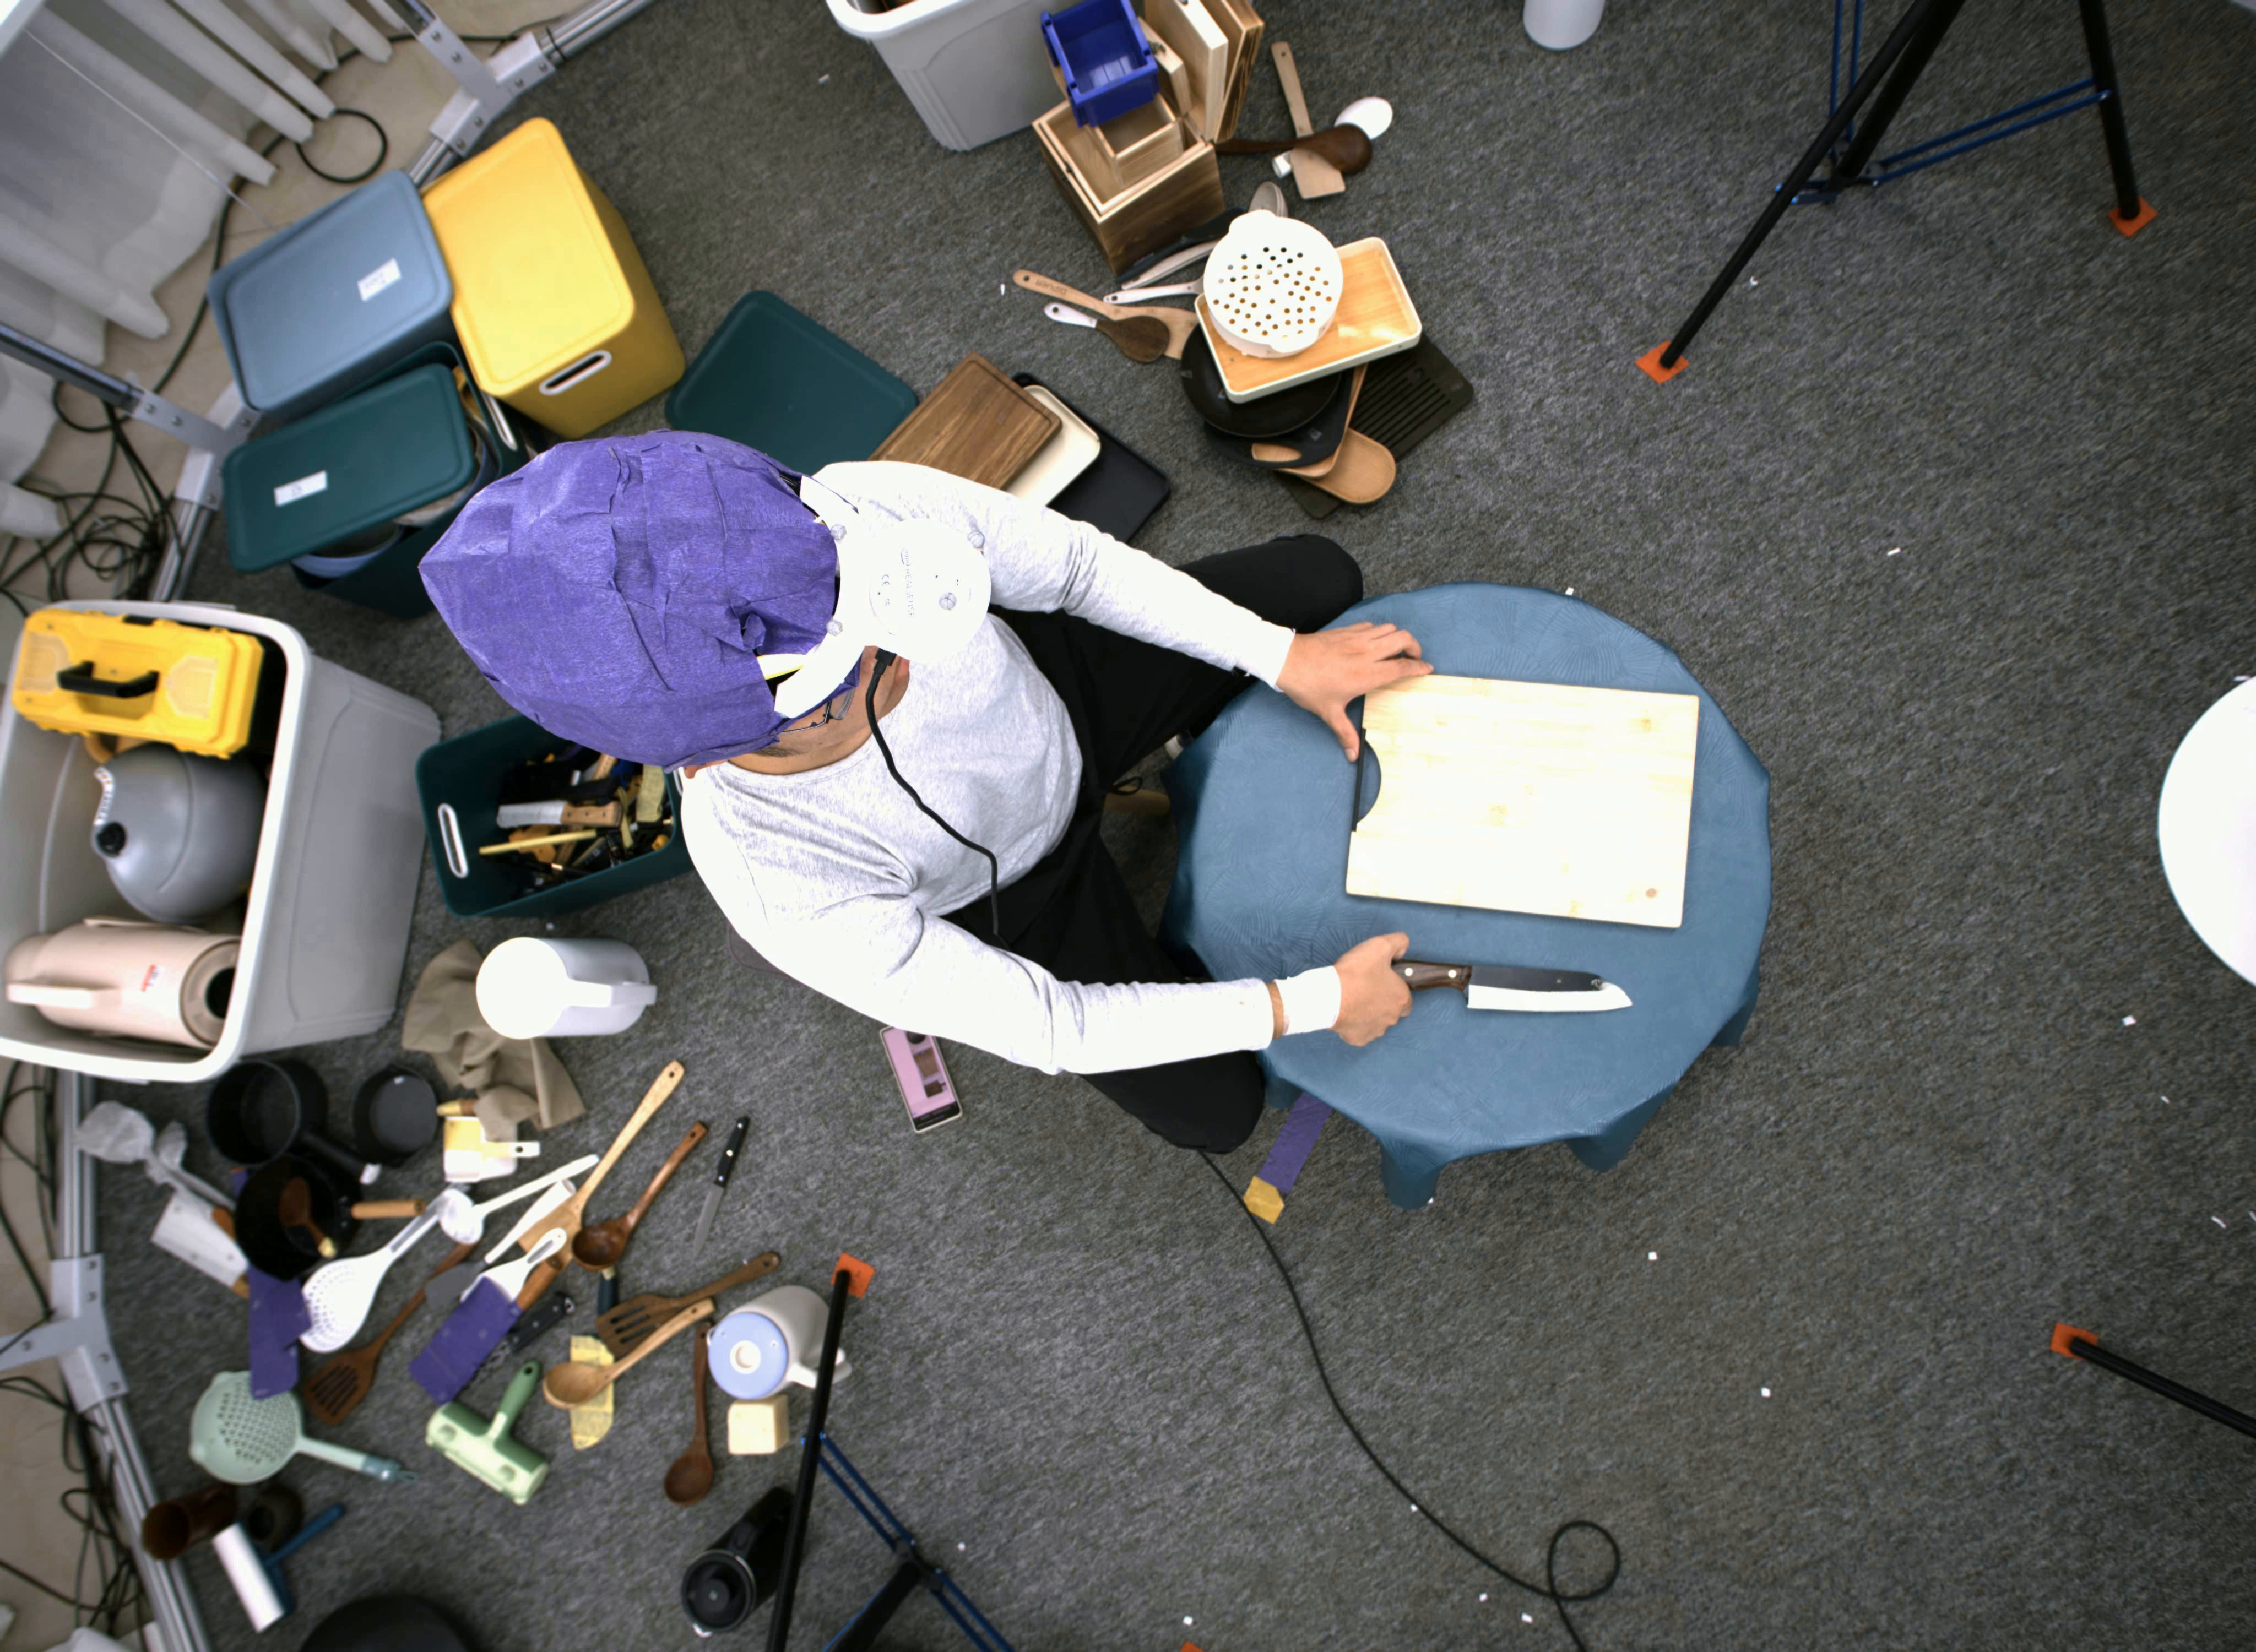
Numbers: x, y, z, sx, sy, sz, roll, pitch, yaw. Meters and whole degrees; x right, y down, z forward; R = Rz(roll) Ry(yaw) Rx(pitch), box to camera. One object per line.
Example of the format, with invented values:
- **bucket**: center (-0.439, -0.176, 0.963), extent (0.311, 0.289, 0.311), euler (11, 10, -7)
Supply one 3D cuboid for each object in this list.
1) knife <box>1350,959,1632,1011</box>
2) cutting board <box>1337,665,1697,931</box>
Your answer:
- **knife**: center (0.373, 0.162, 1.421), extent (0.290, 0.020, 0.049), euler (5, 78, 6)
- **cutting board**: center (0.403, -0.034, 1.433), extent (0.350, 0.023, 0.250), euler (5, 87, 11)
